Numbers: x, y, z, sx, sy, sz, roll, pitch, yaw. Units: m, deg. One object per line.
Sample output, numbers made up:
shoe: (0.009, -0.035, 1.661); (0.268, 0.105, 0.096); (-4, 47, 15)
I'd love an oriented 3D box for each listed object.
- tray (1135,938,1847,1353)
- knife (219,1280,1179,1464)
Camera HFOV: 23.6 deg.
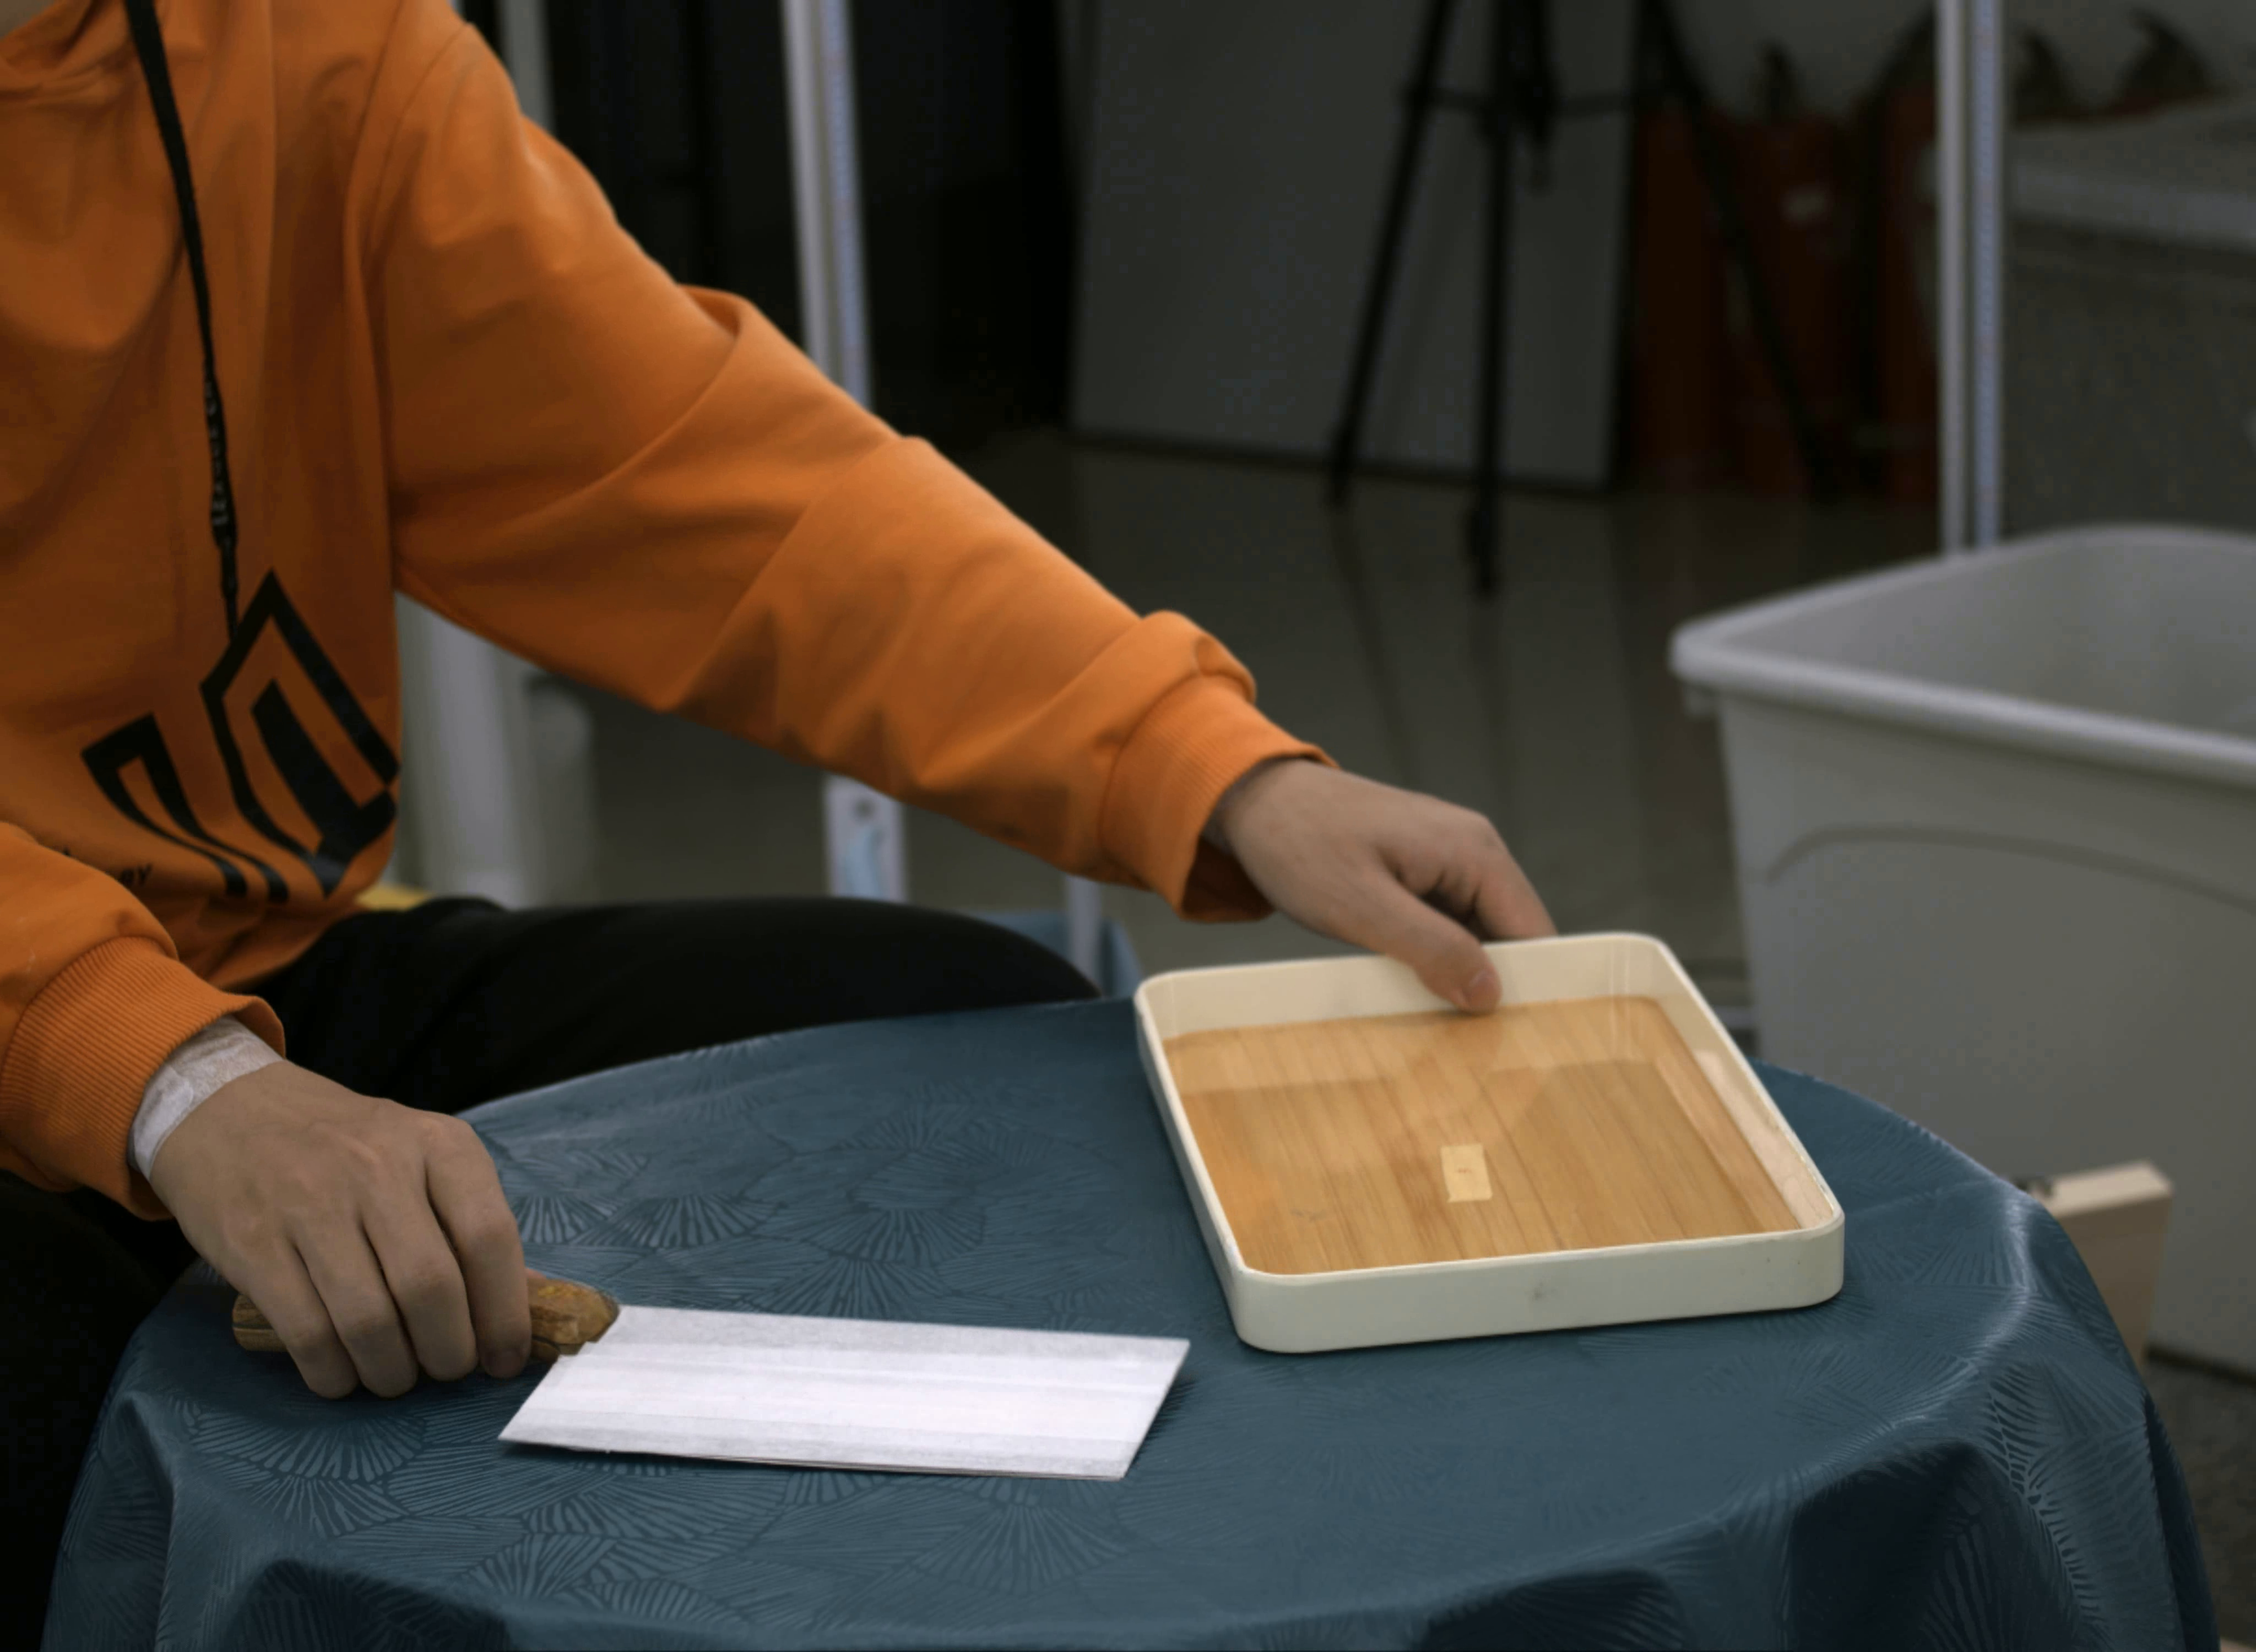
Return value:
tray: (0.111, 0.099, 1.748); (0.189, 0.028, 0.301); (-6, 16, -4)
knife: (-0.136, 0.164, 1.599); (0.304, 0.021, 0.092); (2, 20, 16)
